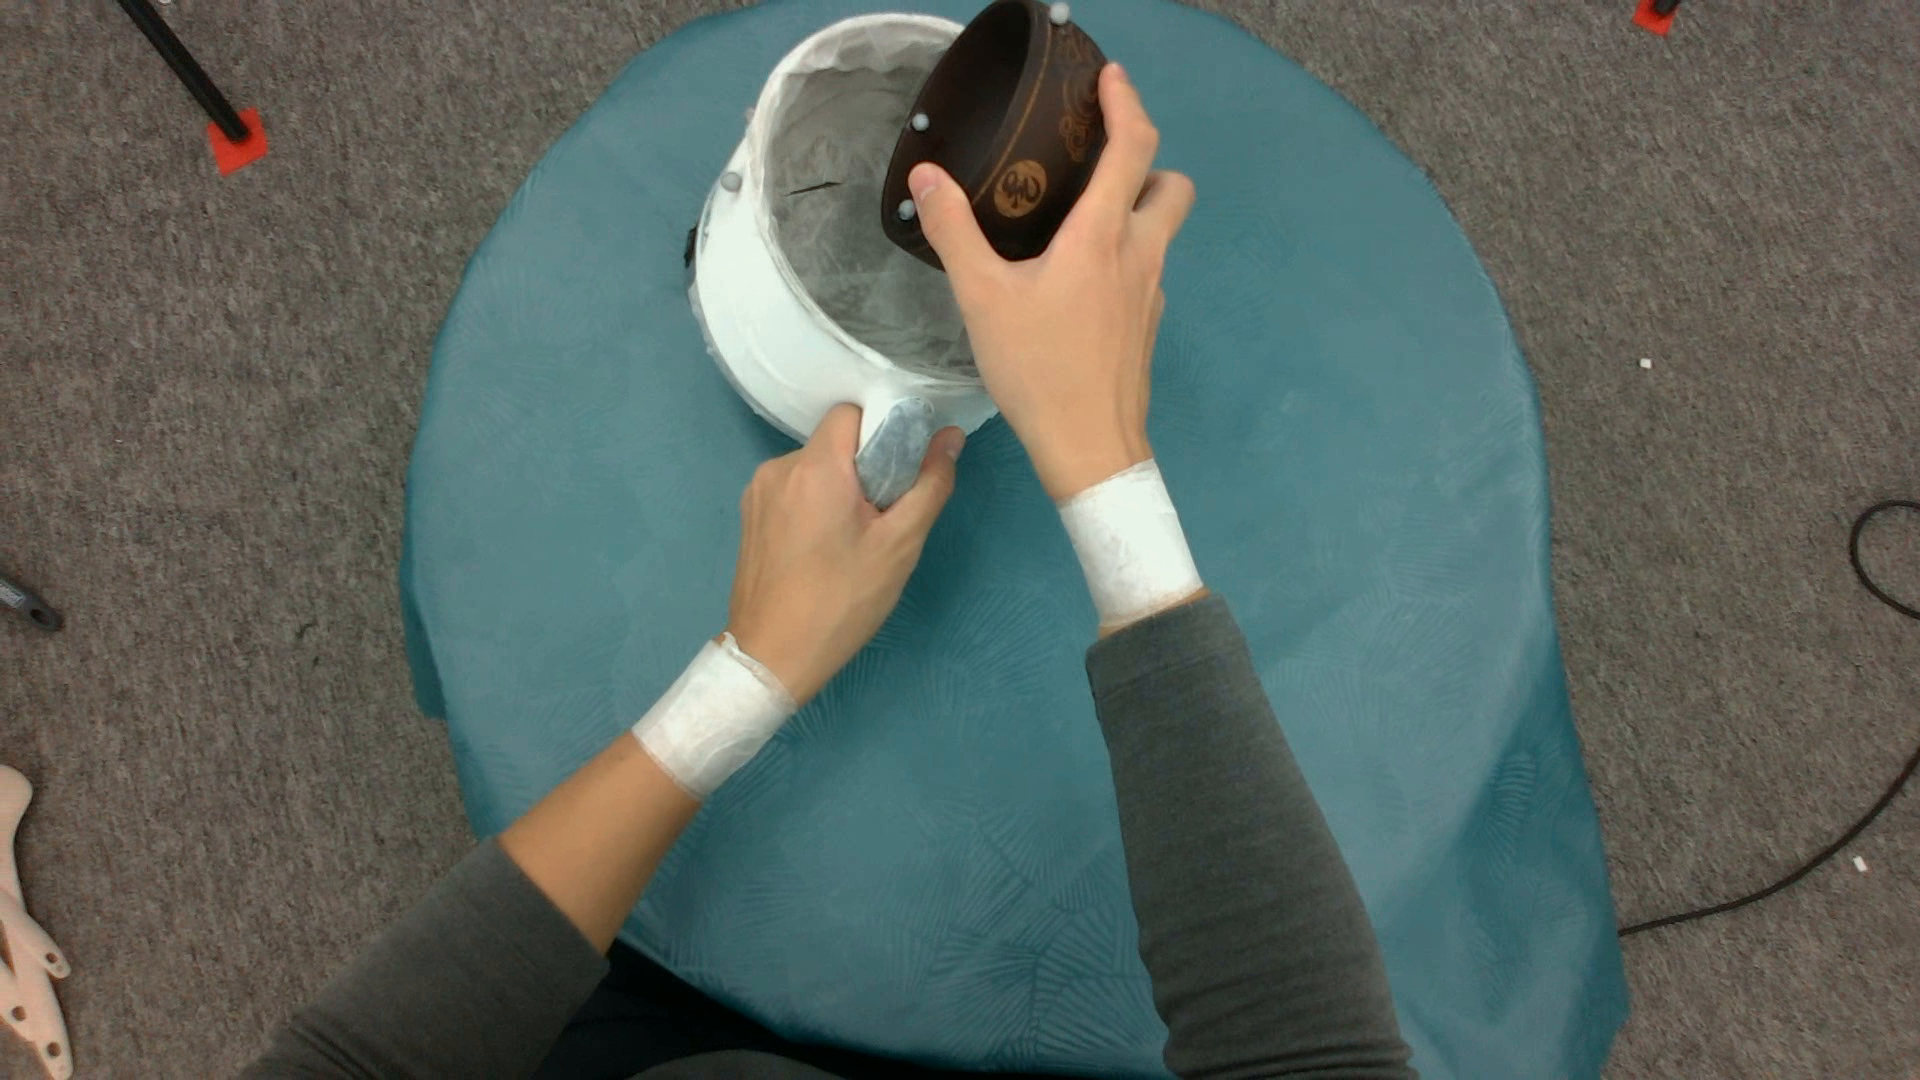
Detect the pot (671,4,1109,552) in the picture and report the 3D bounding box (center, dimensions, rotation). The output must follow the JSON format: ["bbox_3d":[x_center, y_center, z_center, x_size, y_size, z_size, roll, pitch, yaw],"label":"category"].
[{"bbox_3d":[-0.040,-0.114,0.651,0.179,0.136,0.234,13,72,-21],"label":"pot"}]

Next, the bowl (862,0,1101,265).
[{"bbox_3d":[0.017,-0.174,0.601,0.070,0.117,0.118,22,74,-29],"label":"bowl"}]
